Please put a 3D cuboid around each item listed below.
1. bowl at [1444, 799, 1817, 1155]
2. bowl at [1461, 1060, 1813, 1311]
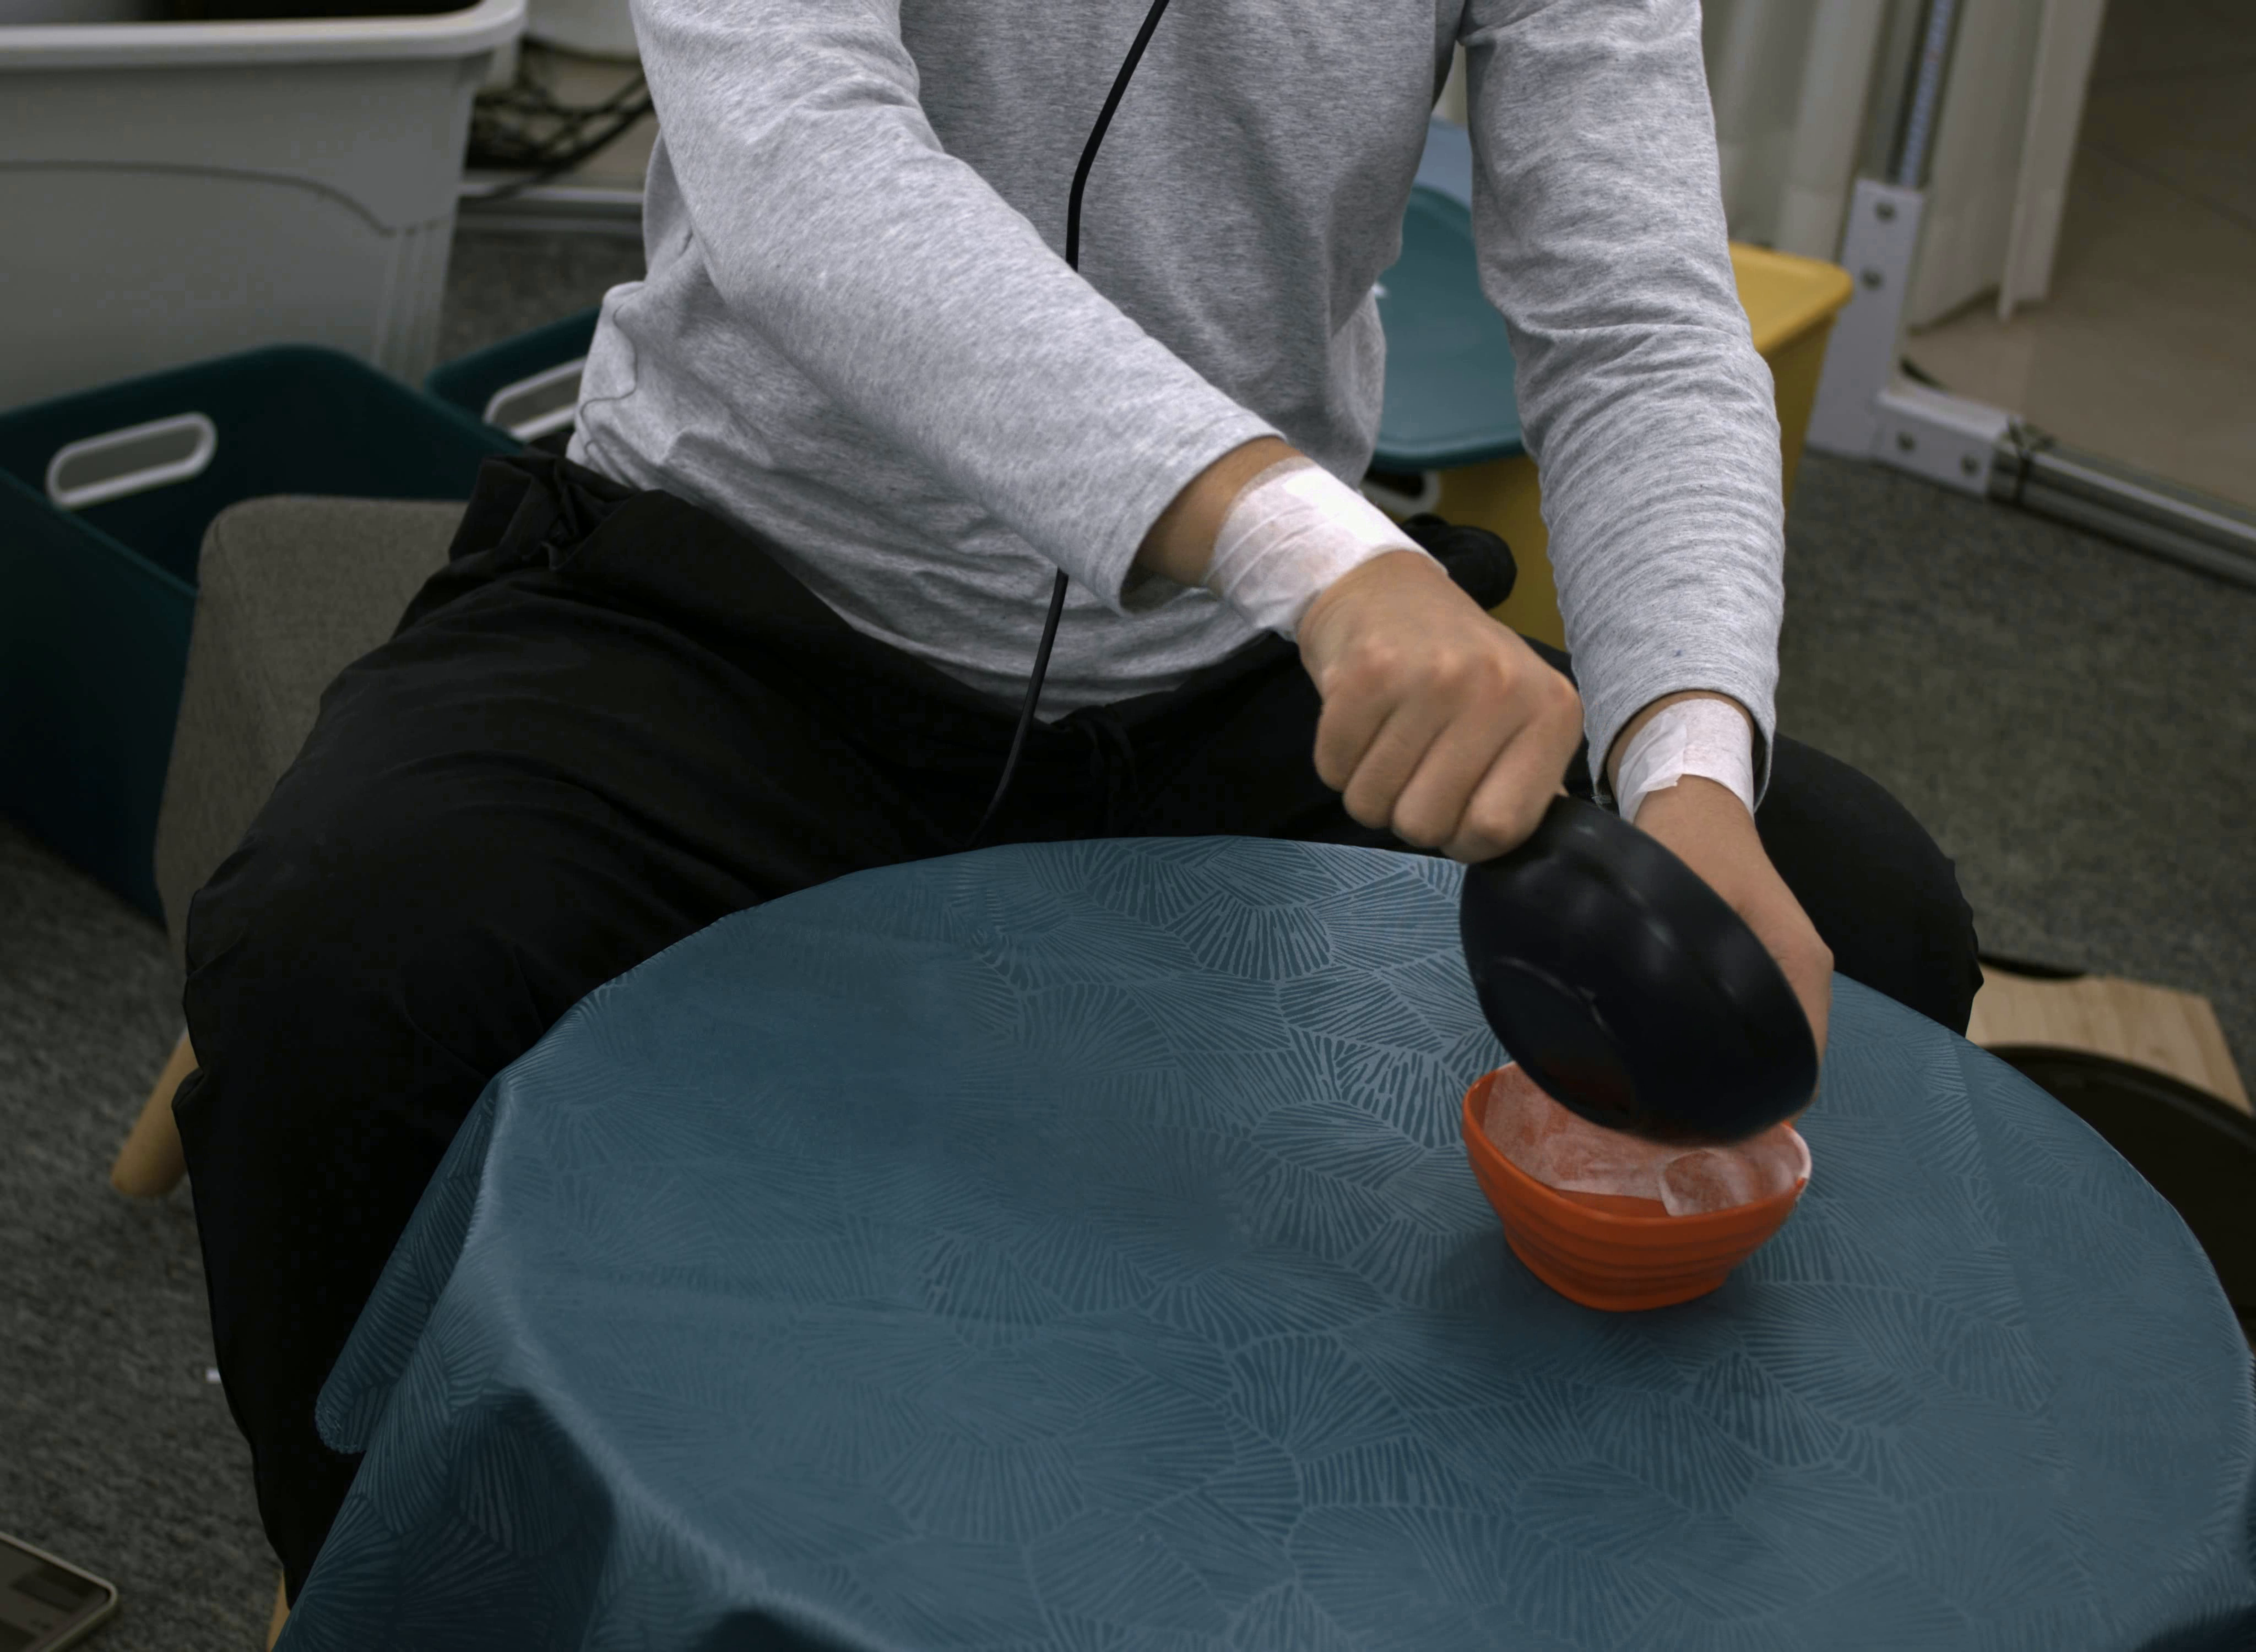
[{"bbox_3d":[0.152,0.059,1.723,0.141,0.139,0.050,26,59,33],"label":"bowl"},{"bbox_3d":[0.168,0.122,1.789,0.118,0.051,0.119,5,29,-3],"label":"bowl"}]
